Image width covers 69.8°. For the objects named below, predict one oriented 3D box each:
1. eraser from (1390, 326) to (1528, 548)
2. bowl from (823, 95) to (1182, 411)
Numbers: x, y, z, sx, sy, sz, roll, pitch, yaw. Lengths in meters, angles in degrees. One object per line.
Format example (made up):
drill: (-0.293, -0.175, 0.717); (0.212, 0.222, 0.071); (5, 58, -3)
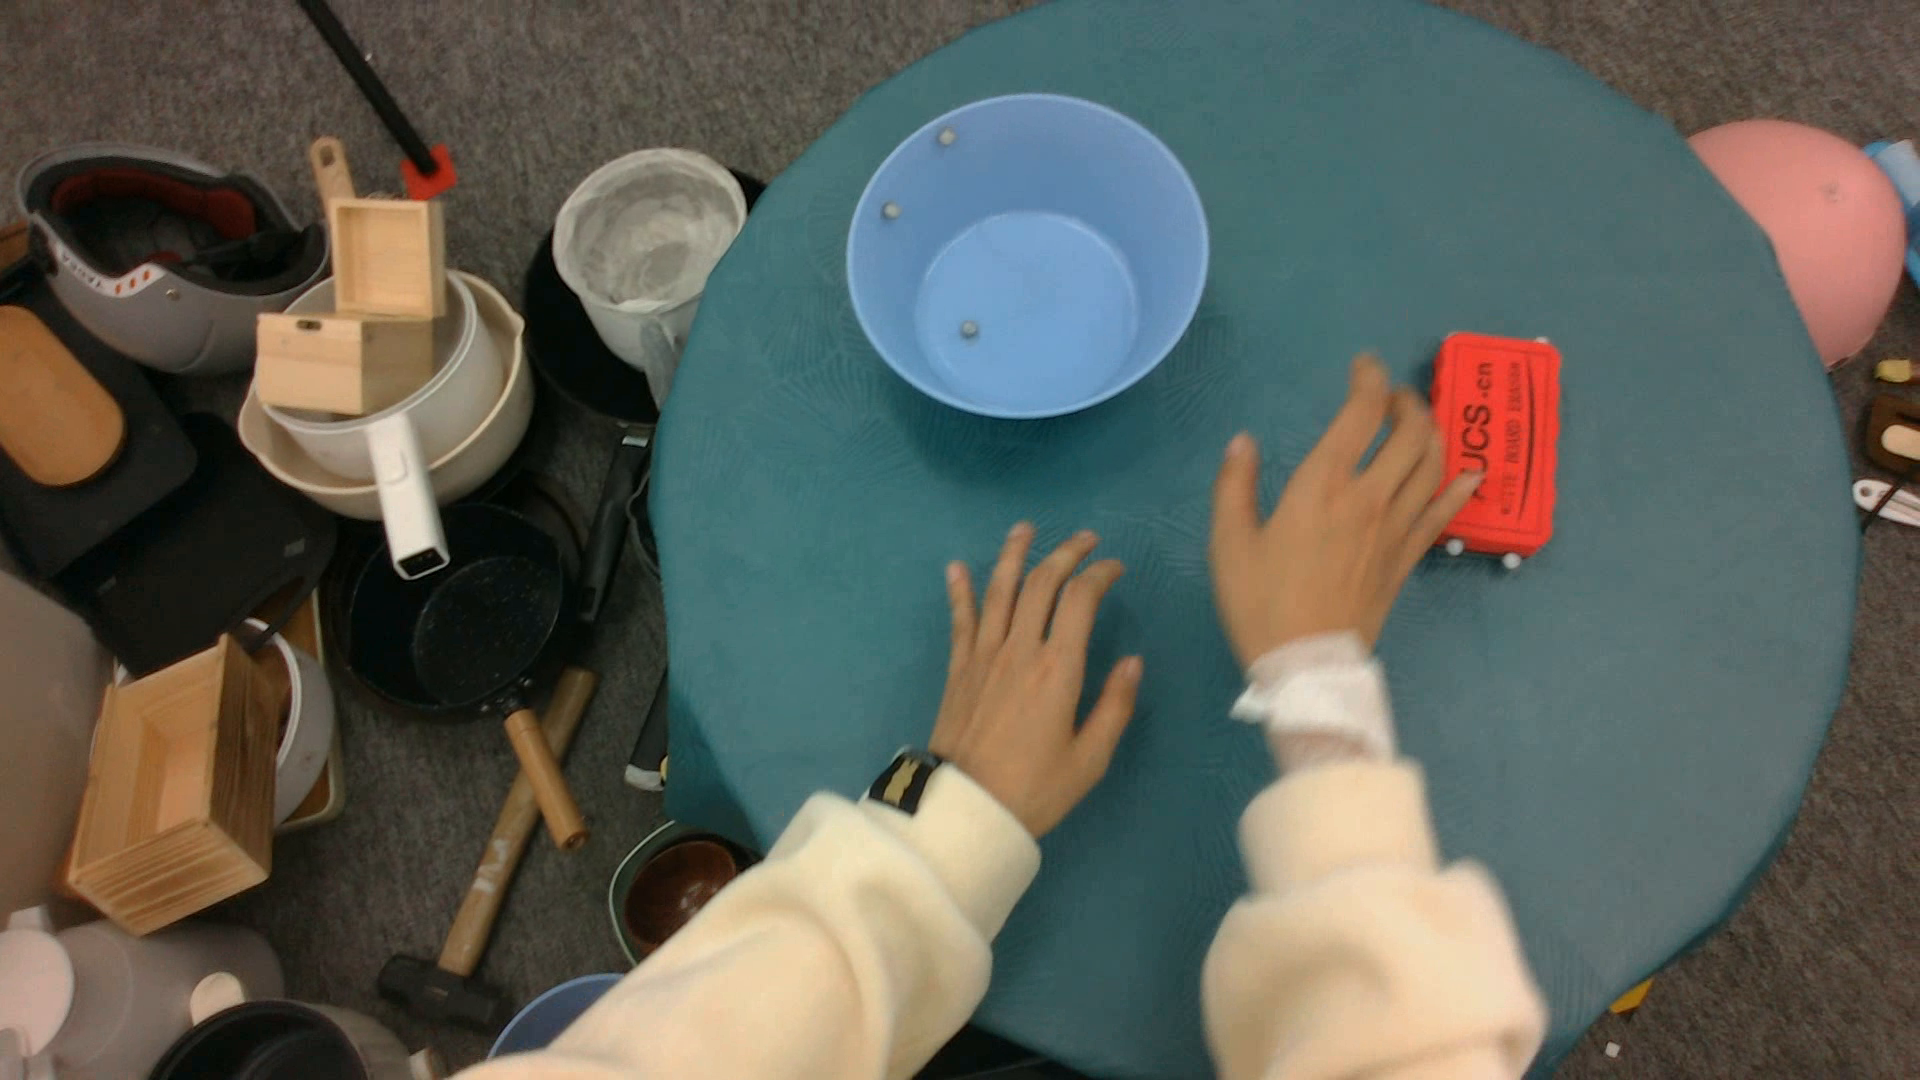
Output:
eraser: (0.249, -0.052, 0.686); (0.059, 0.023, 0.108); (10, 71, 3)
bowl: (0.021, -0.133, 0.698); (0.176, 0.070, 0.176); (-1, 70, 2)
